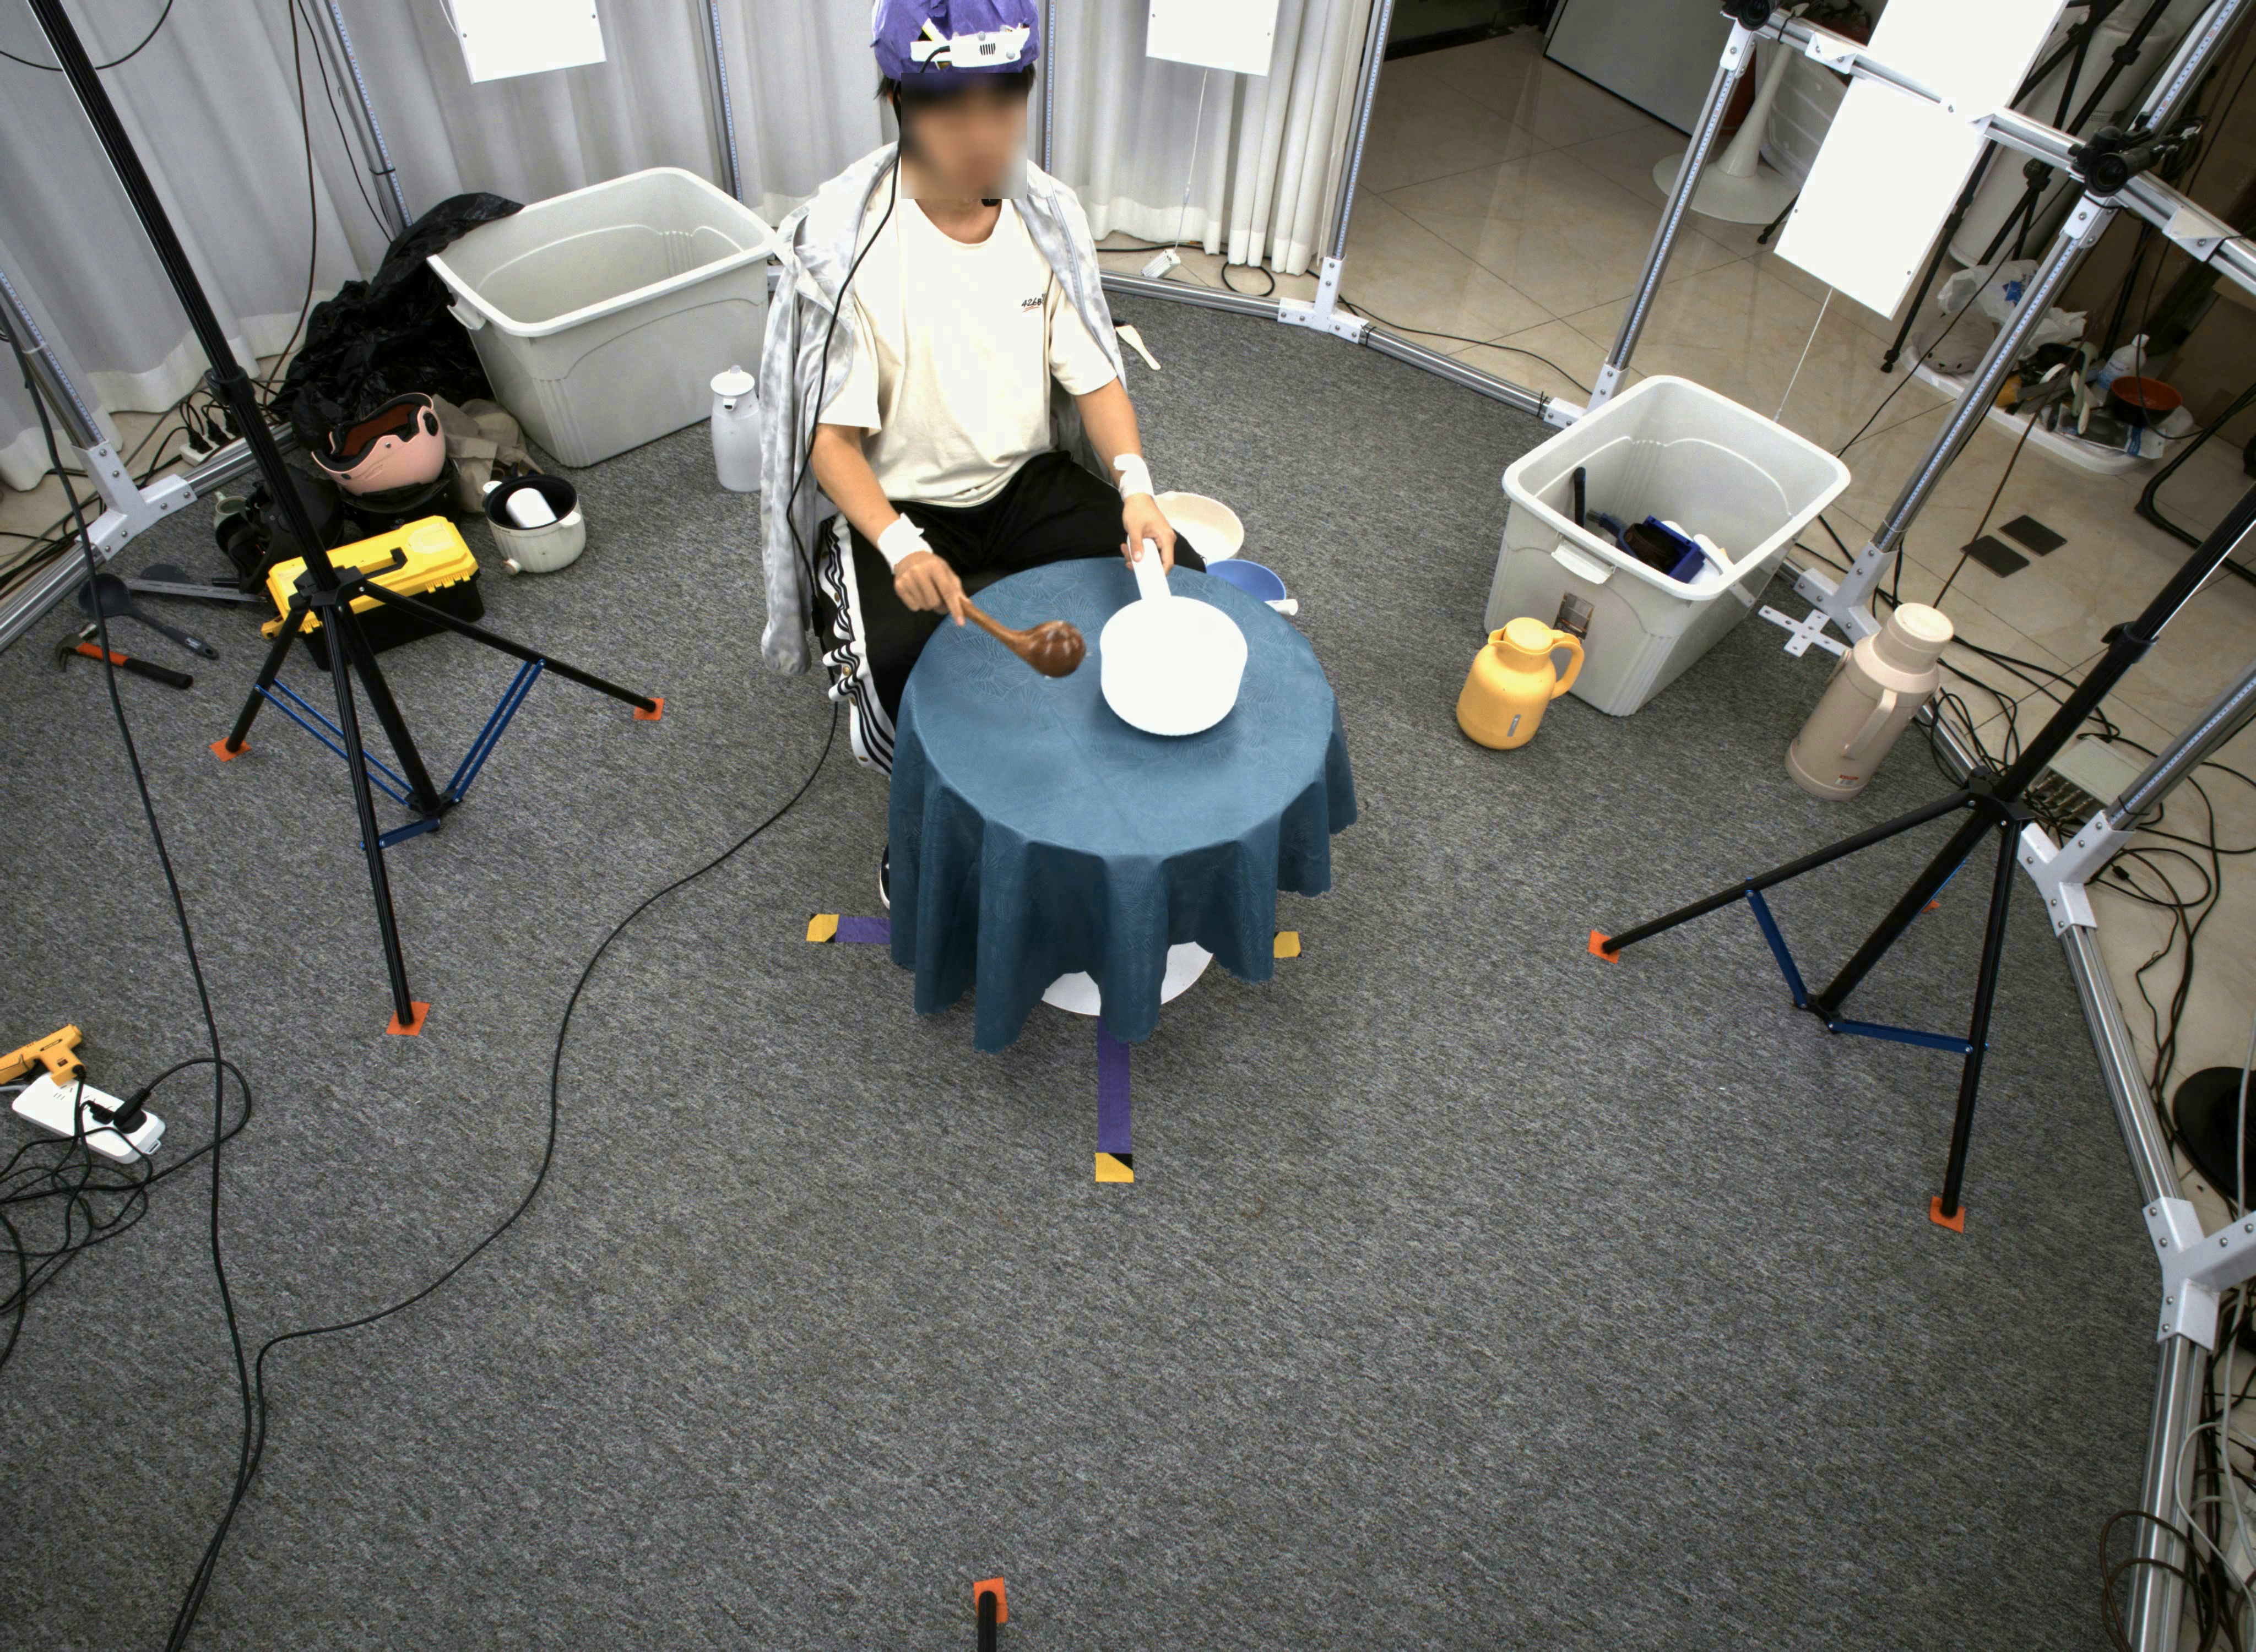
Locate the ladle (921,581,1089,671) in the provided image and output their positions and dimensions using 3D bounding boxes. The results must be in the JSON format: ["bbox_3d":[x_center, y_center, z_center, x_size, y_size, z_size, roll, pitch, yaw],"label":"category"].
[{"bbox_3d":[-0.165,-0.284,1.731,0.077,0.080,0.278,-17,37,-42],"label":"ladle"}]

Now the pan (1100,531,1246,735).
[{"bbox_3d":[0.048,-0.277,1.842,0.201,0.099,0.364,-6,49,-8],"label":"pan"}]
